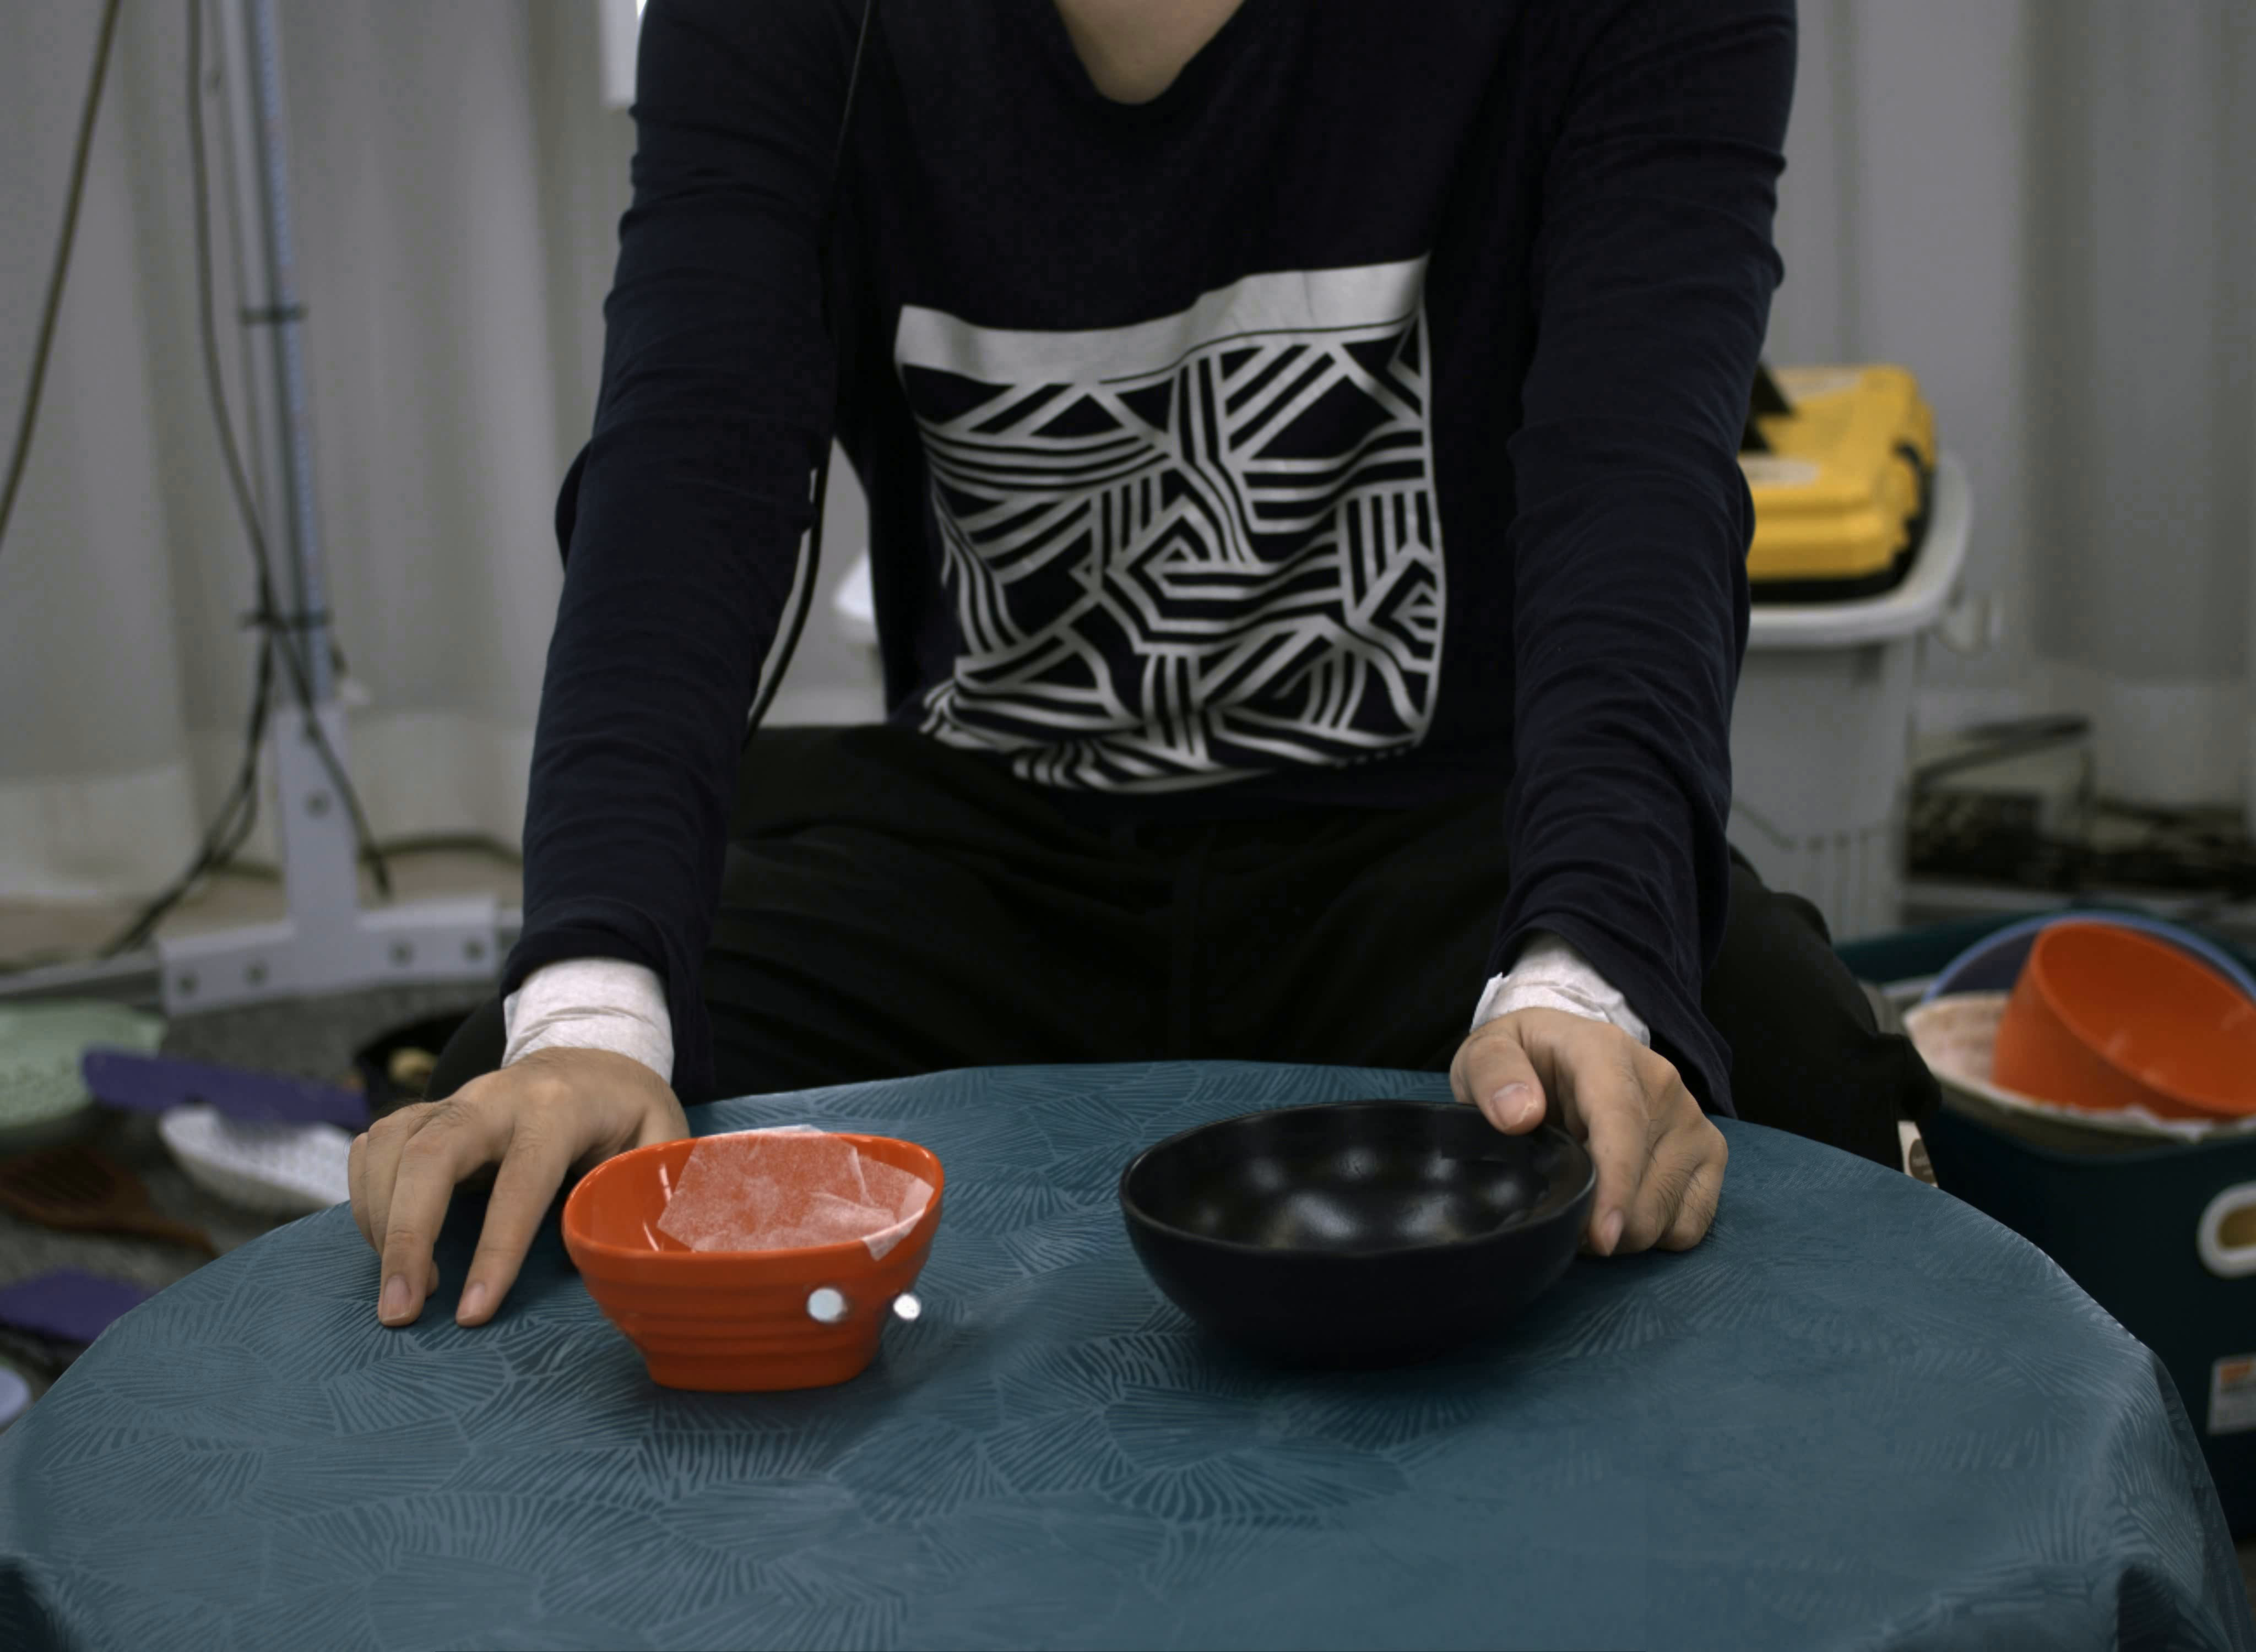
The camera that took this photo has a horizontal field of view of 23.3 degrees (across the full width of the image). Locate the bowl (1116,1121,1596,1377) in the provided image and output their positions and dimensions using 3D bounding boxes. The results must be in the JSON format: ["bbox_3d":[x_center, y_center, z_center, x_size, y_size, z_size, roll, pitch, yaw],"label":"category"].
[{"bbox_3d":[0.067,0.126,1.579,0.139,0.049,0.140,-3,10,0],"label":"bowl"}]

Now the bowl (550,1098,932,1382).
[{"bbox_3d":[-0.108,0.123,1.585,0.118,0.051,0.120,-9,18,3],"label":"bowl"}]
